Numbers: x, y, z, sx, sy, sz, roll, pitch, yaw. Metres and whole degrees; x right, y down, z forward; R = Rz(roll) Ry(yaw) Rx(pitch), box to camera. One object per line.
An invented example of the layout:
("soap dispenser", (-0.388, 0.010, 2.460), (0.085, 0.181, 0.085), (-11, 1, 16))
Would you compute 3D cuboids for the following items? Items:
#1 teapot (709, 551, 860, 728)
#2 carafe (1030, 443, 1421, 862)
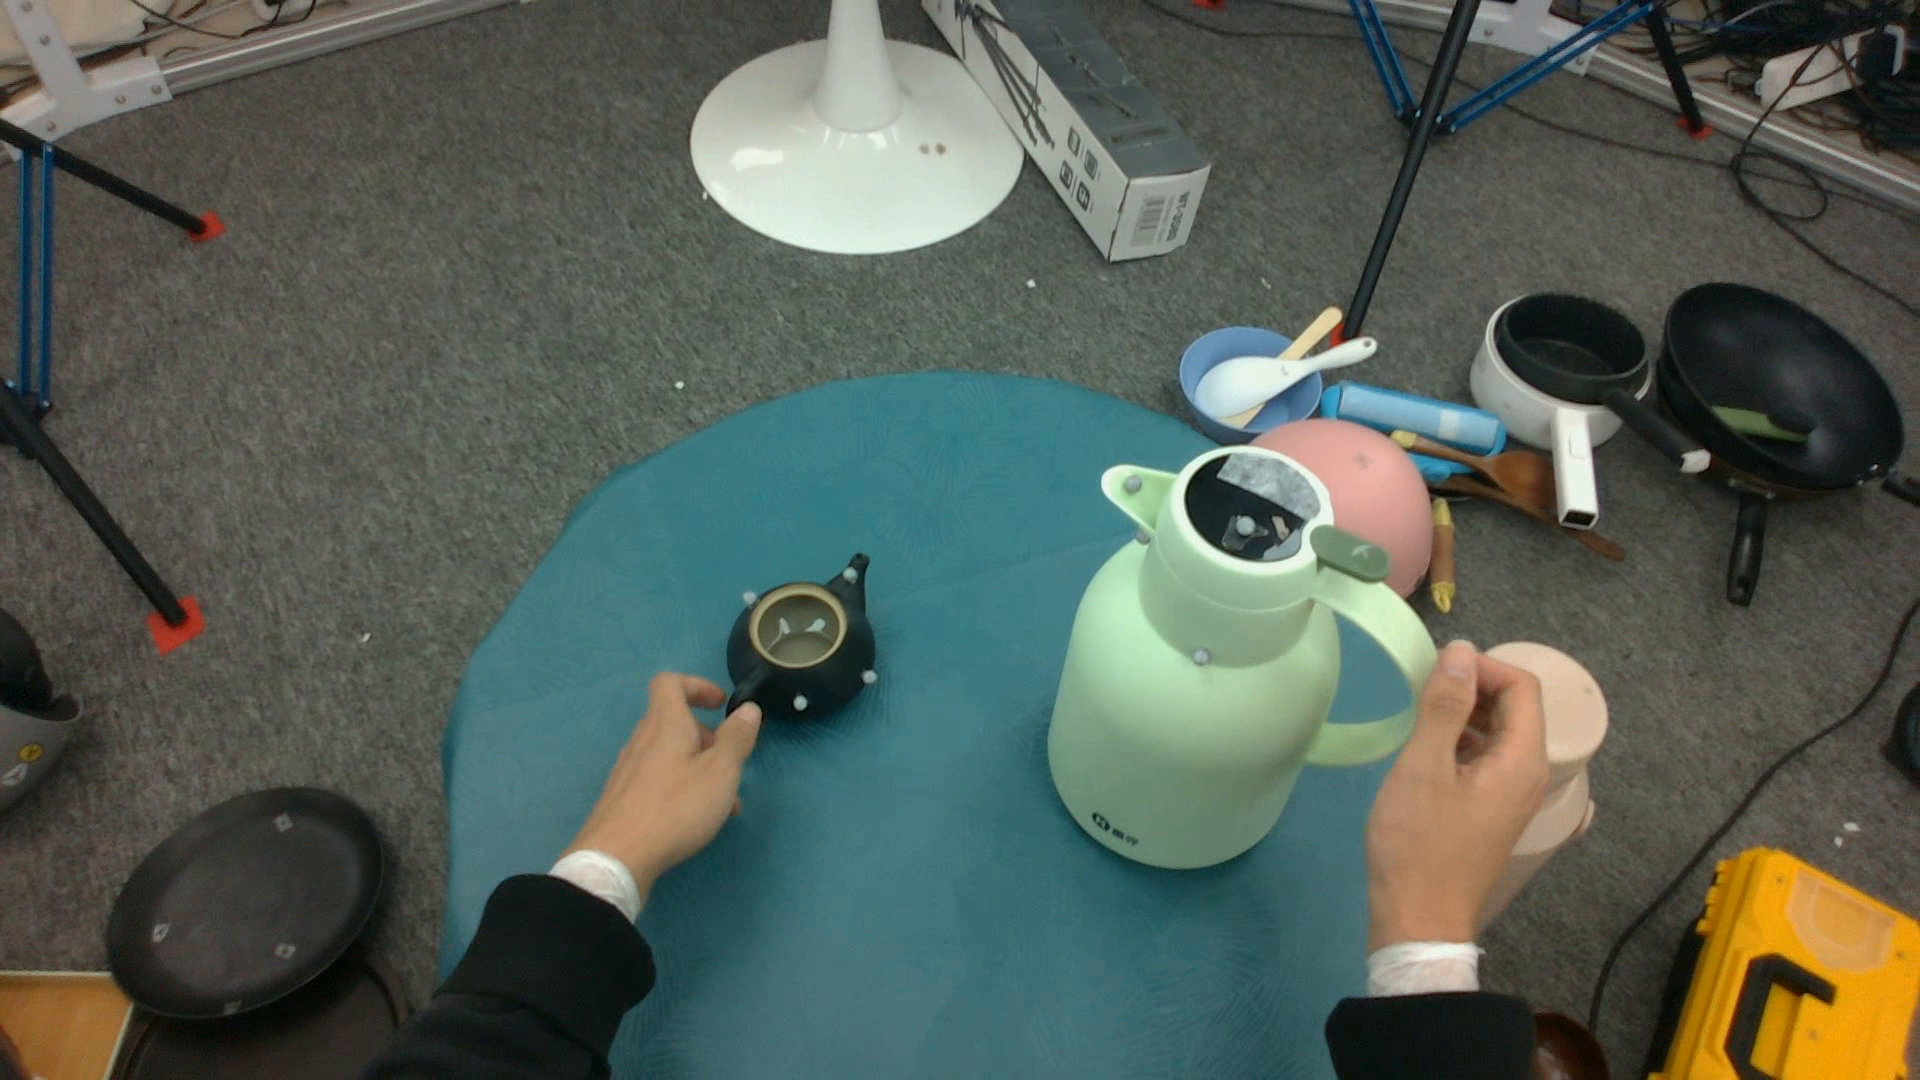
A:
("teapot", (-0.107, 0.064, 0.834), (0.091, 0.053, 0.134), (28, 55, 18))
("carafe", (0.135, 0.064, 0.731), (0.187, 0.255, 0.145), (27, 55, 12))
